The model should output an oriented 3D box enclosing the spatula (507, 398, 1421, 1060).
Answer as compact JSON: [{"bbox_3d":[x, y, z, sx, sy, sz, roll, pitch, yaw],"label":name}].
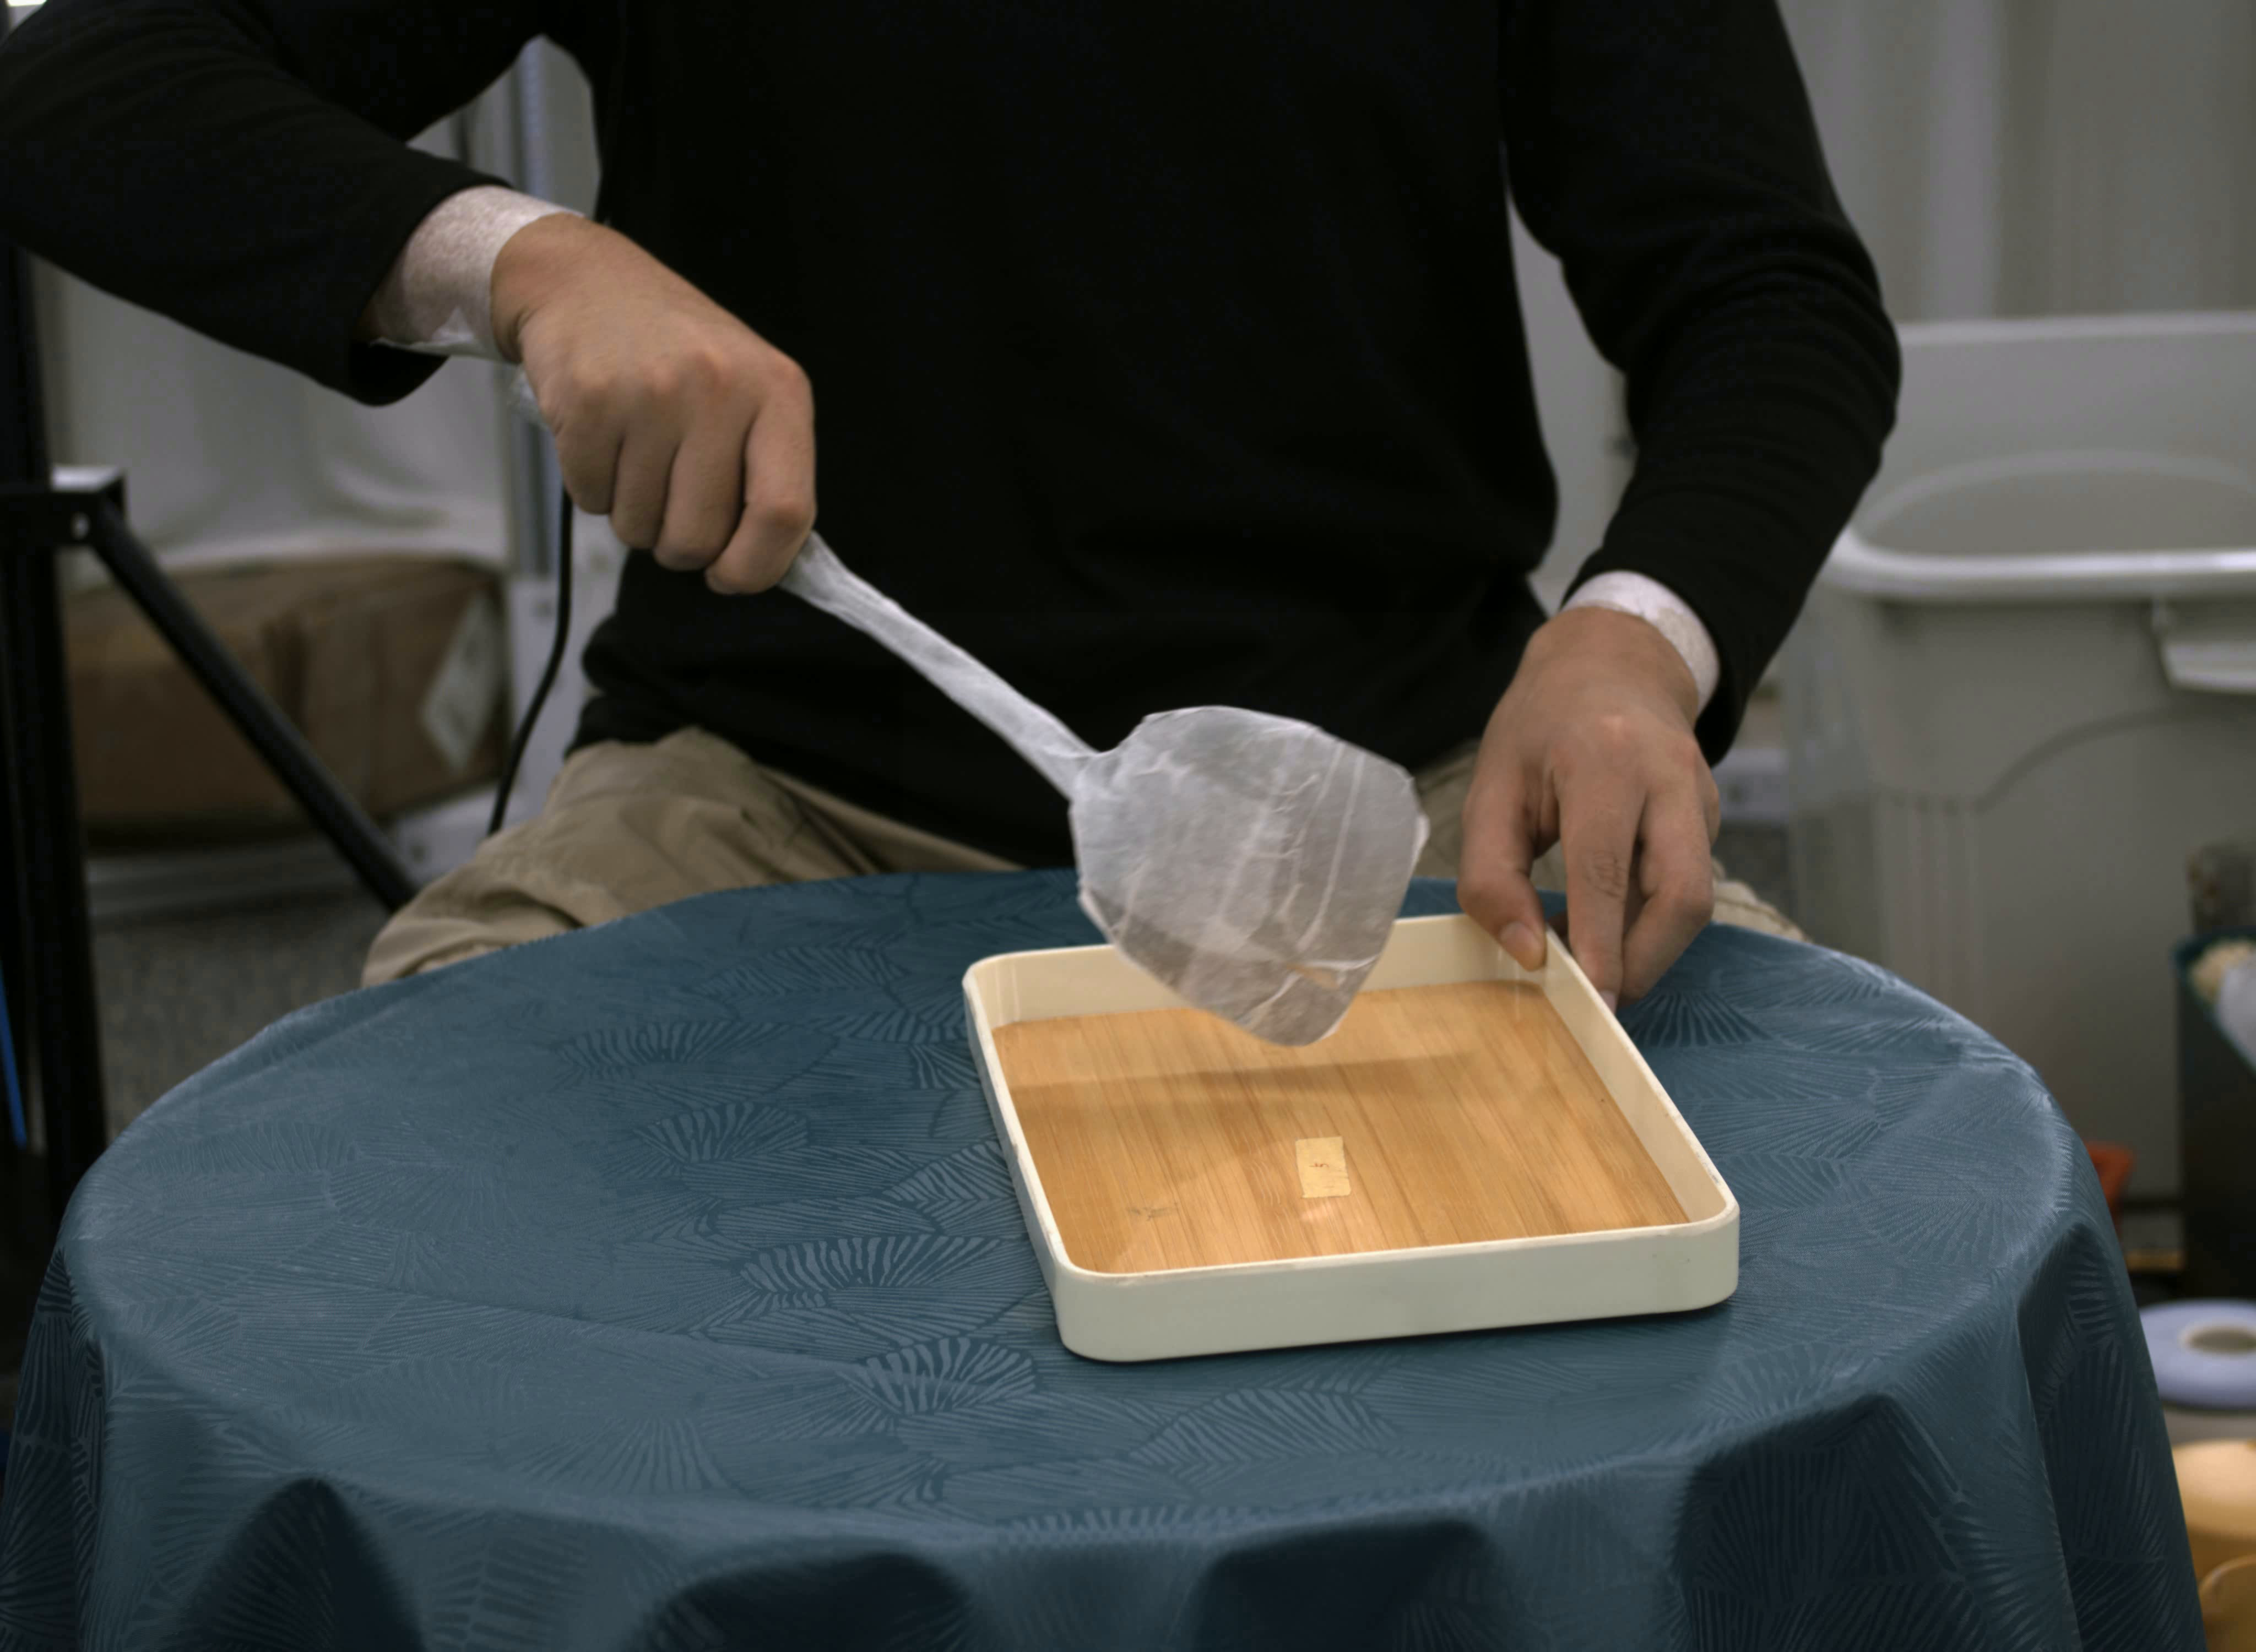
[{"bbox_3d":[-0.061,-0.051,1.670,0.372,0.099,0.043,35,22,33],"label":"spatula"}]

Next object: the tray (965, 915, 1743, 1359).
[{"bbox_3d":[0.059,0.087,1.566,0.190,0.027,0.303,-5,16,-5],"label":"tray"}]
